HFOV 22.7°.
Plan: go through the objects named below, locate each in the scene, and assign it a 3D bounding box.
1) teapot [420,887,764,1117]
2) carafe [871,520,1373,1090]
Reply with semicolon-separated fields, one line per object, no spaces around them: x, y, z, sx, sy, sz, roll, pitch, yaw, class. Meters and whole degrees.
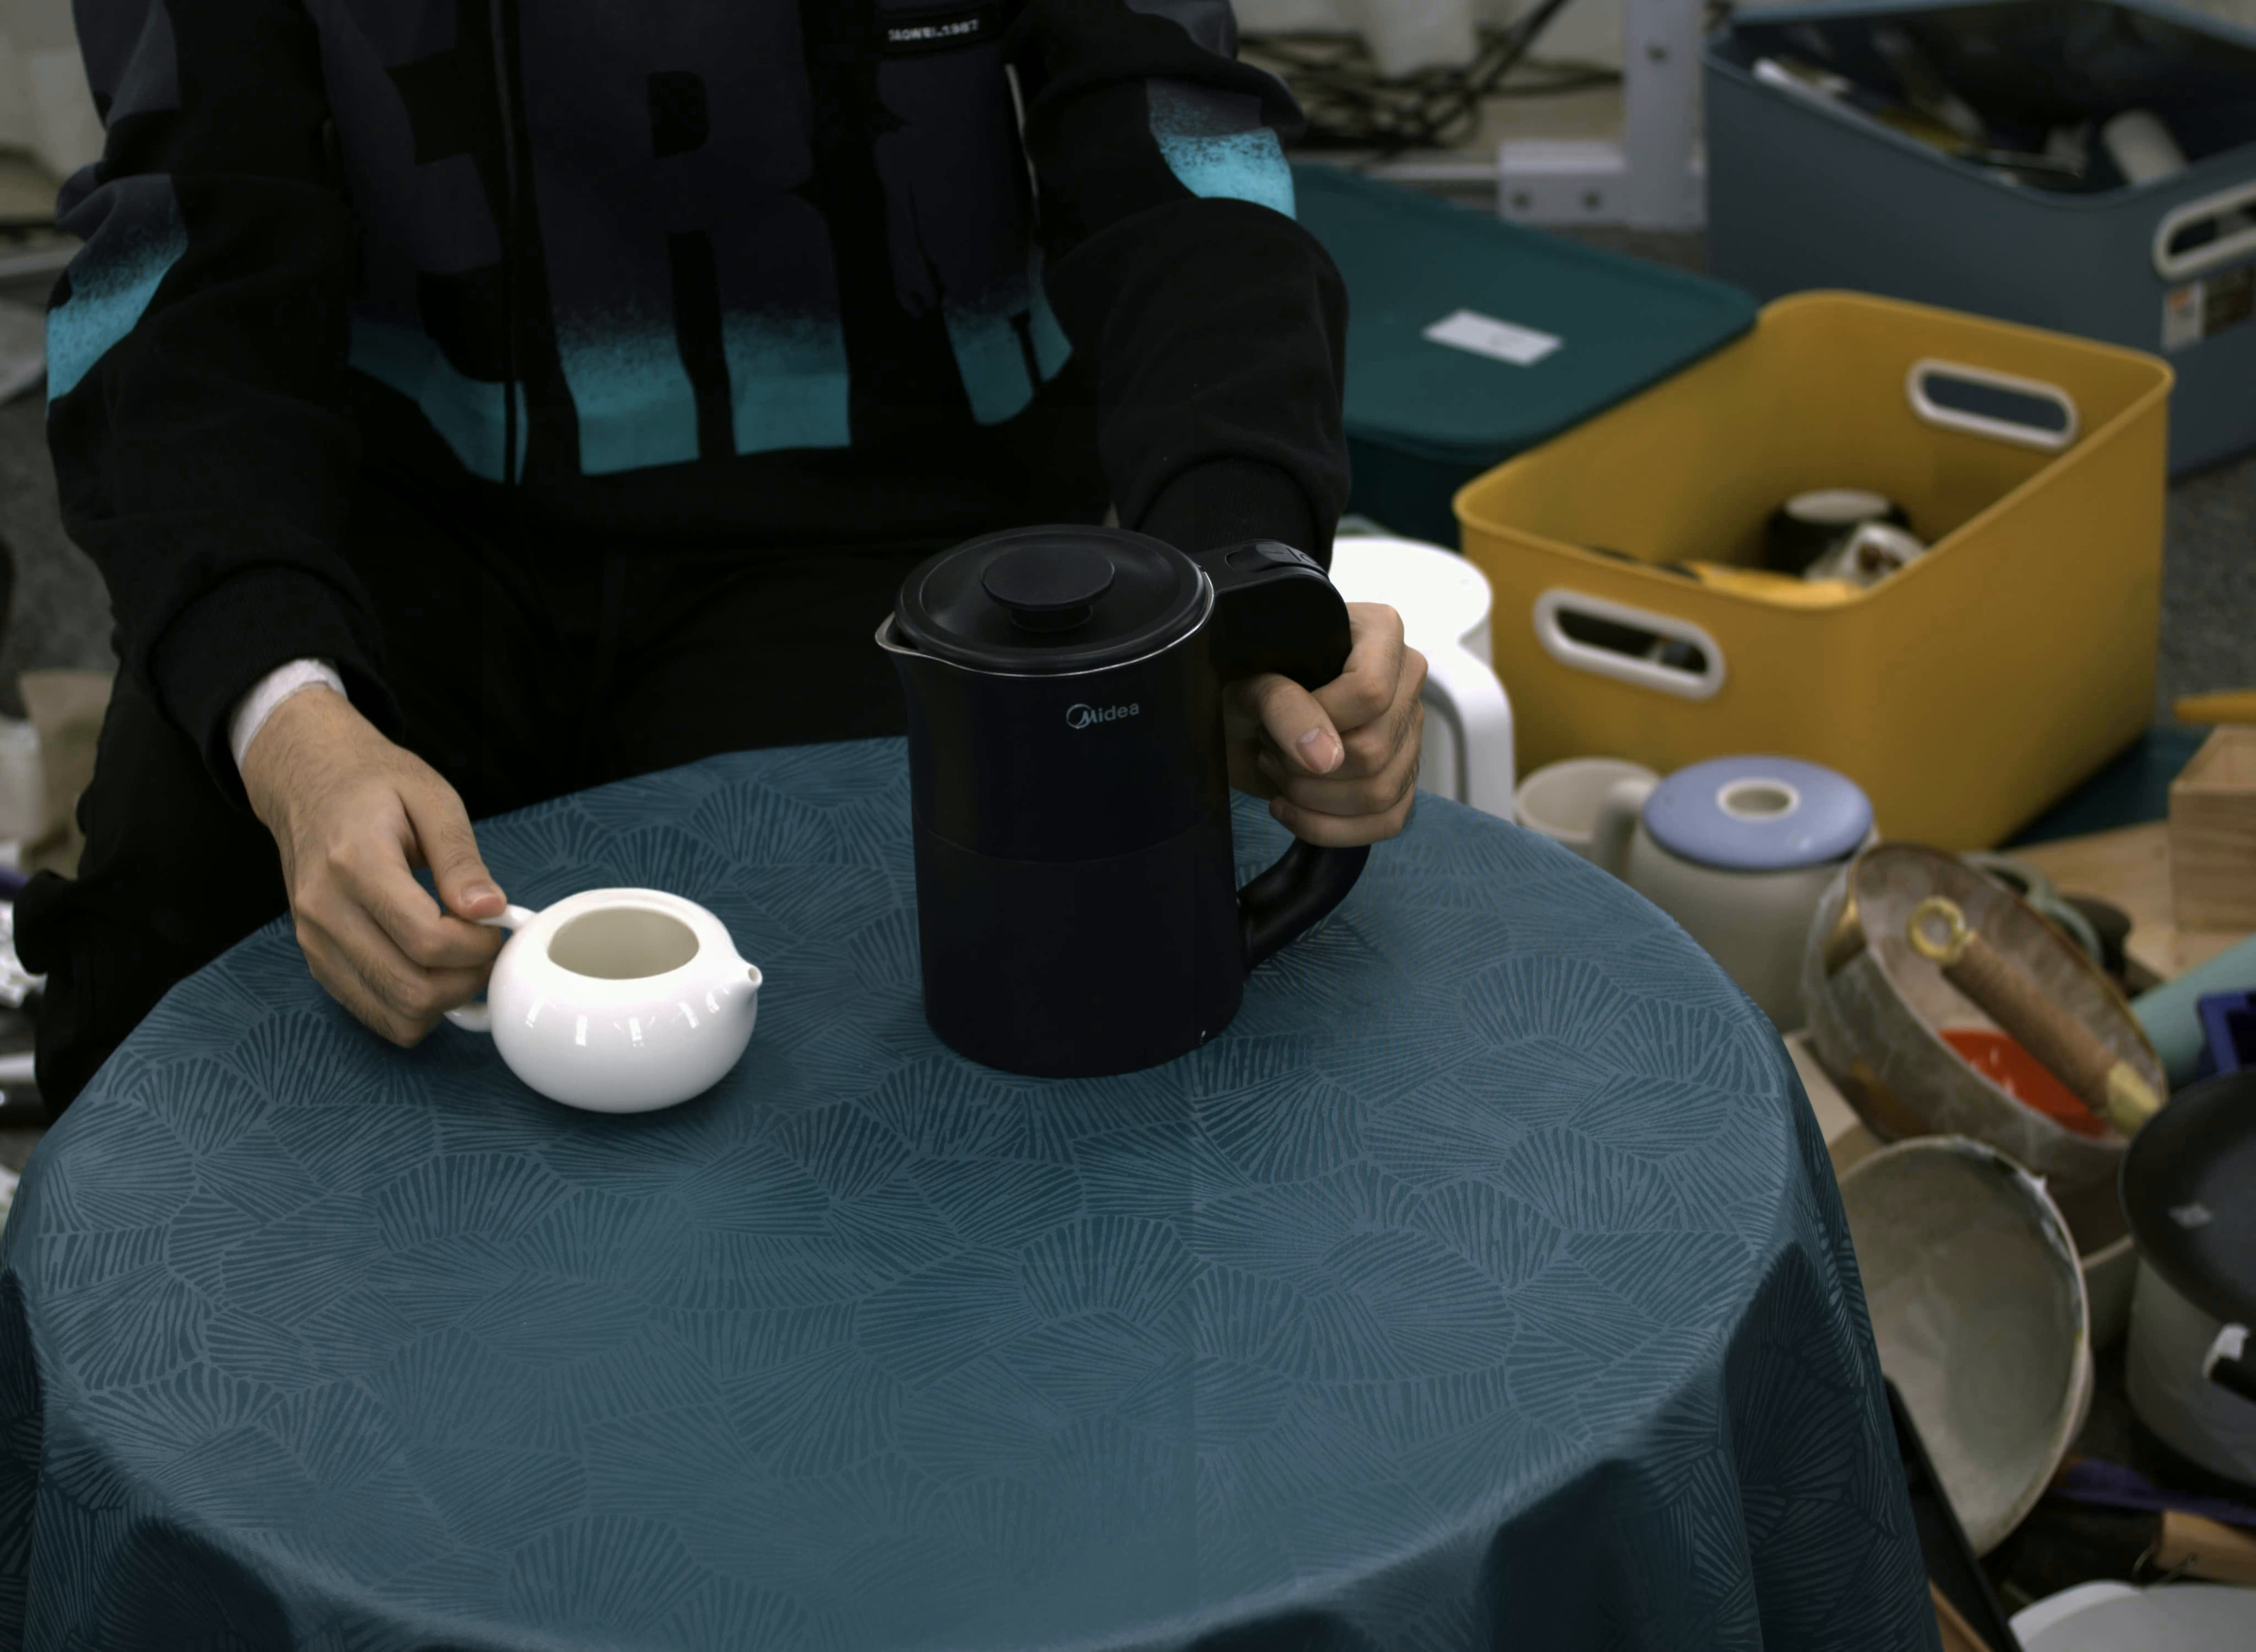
-0.185;0.059;1.932;0.126;0.056;0.095;9;33;11;teapot
0.000;-0.018;1.946;0.172;0.171;0.115;-15;28;-18;carafe
